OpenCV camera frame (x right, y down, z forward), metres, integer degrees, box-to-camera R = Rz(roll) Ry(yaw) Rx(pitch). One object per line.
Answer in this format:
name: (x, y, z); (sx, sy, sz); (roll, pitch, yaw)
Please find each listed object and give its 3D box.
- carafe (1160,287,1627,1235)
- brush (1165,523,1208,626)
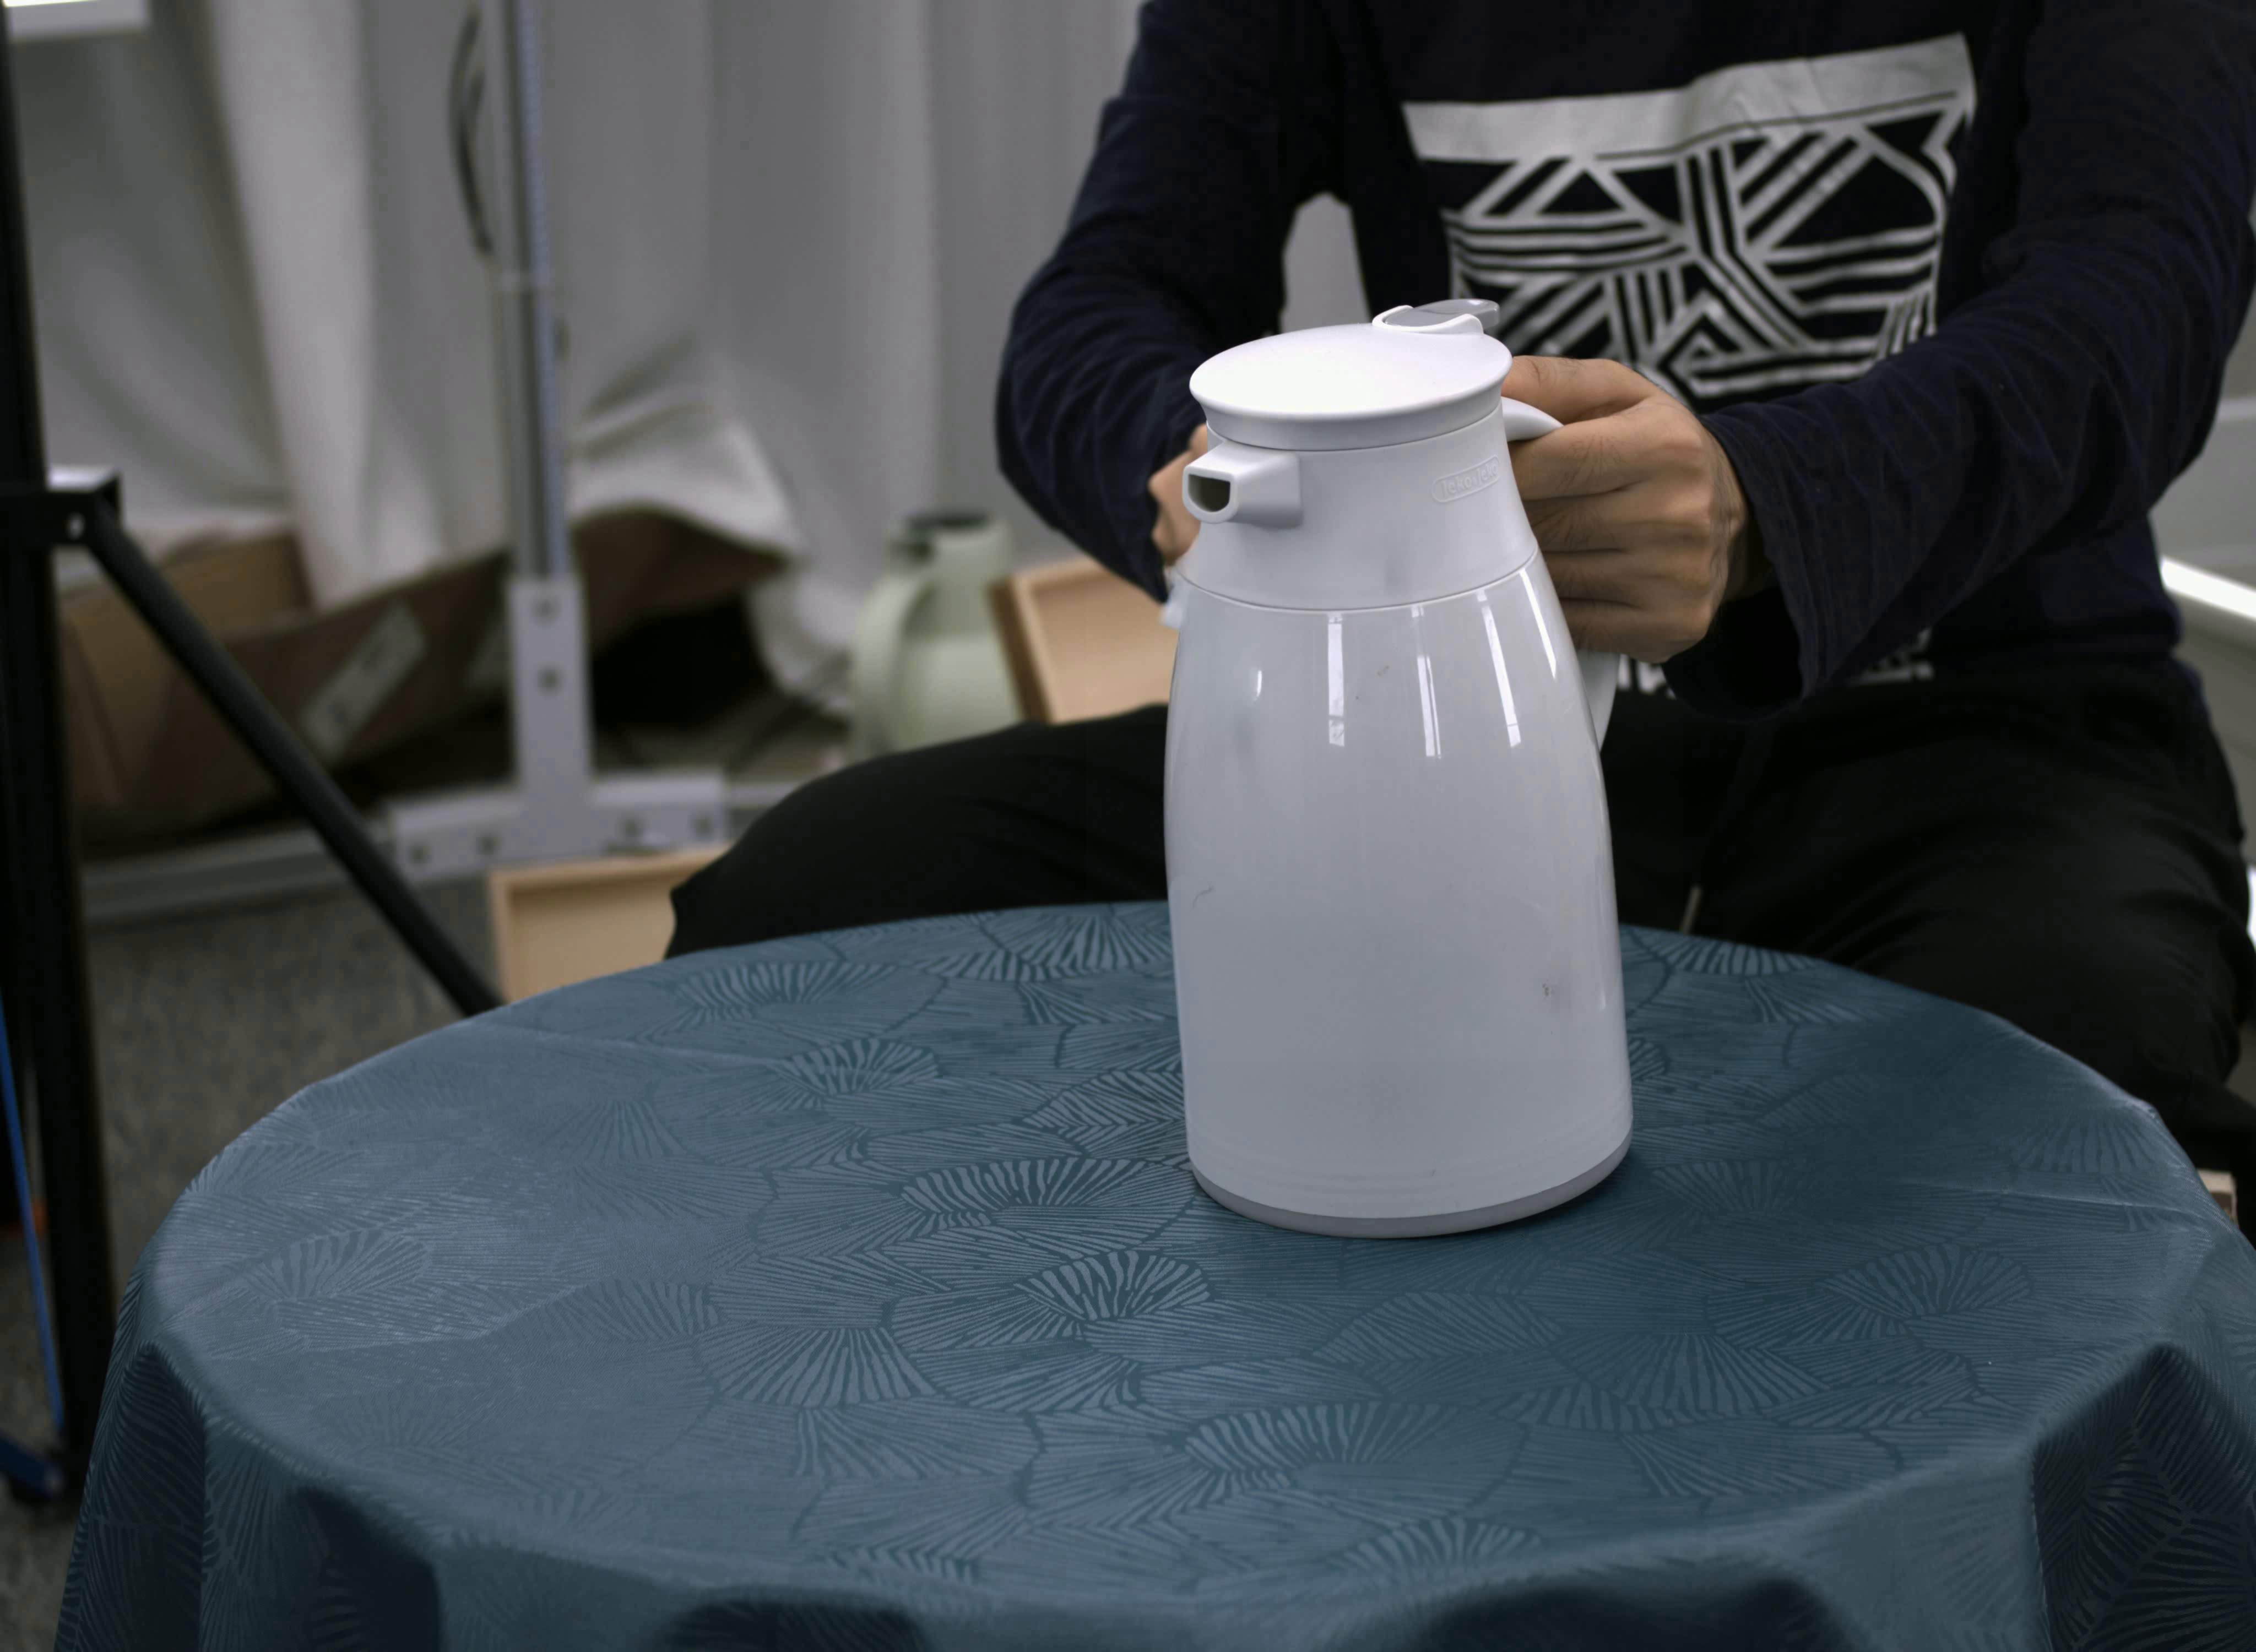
carafe: (0.083, -0.027, 1.546); (0.135, 0.248, 0.164); (11, 25, 41)
brush: (0.050, -0.075, 1.694); (0.050, 0.034, 0.242); (24, 6, 4)
